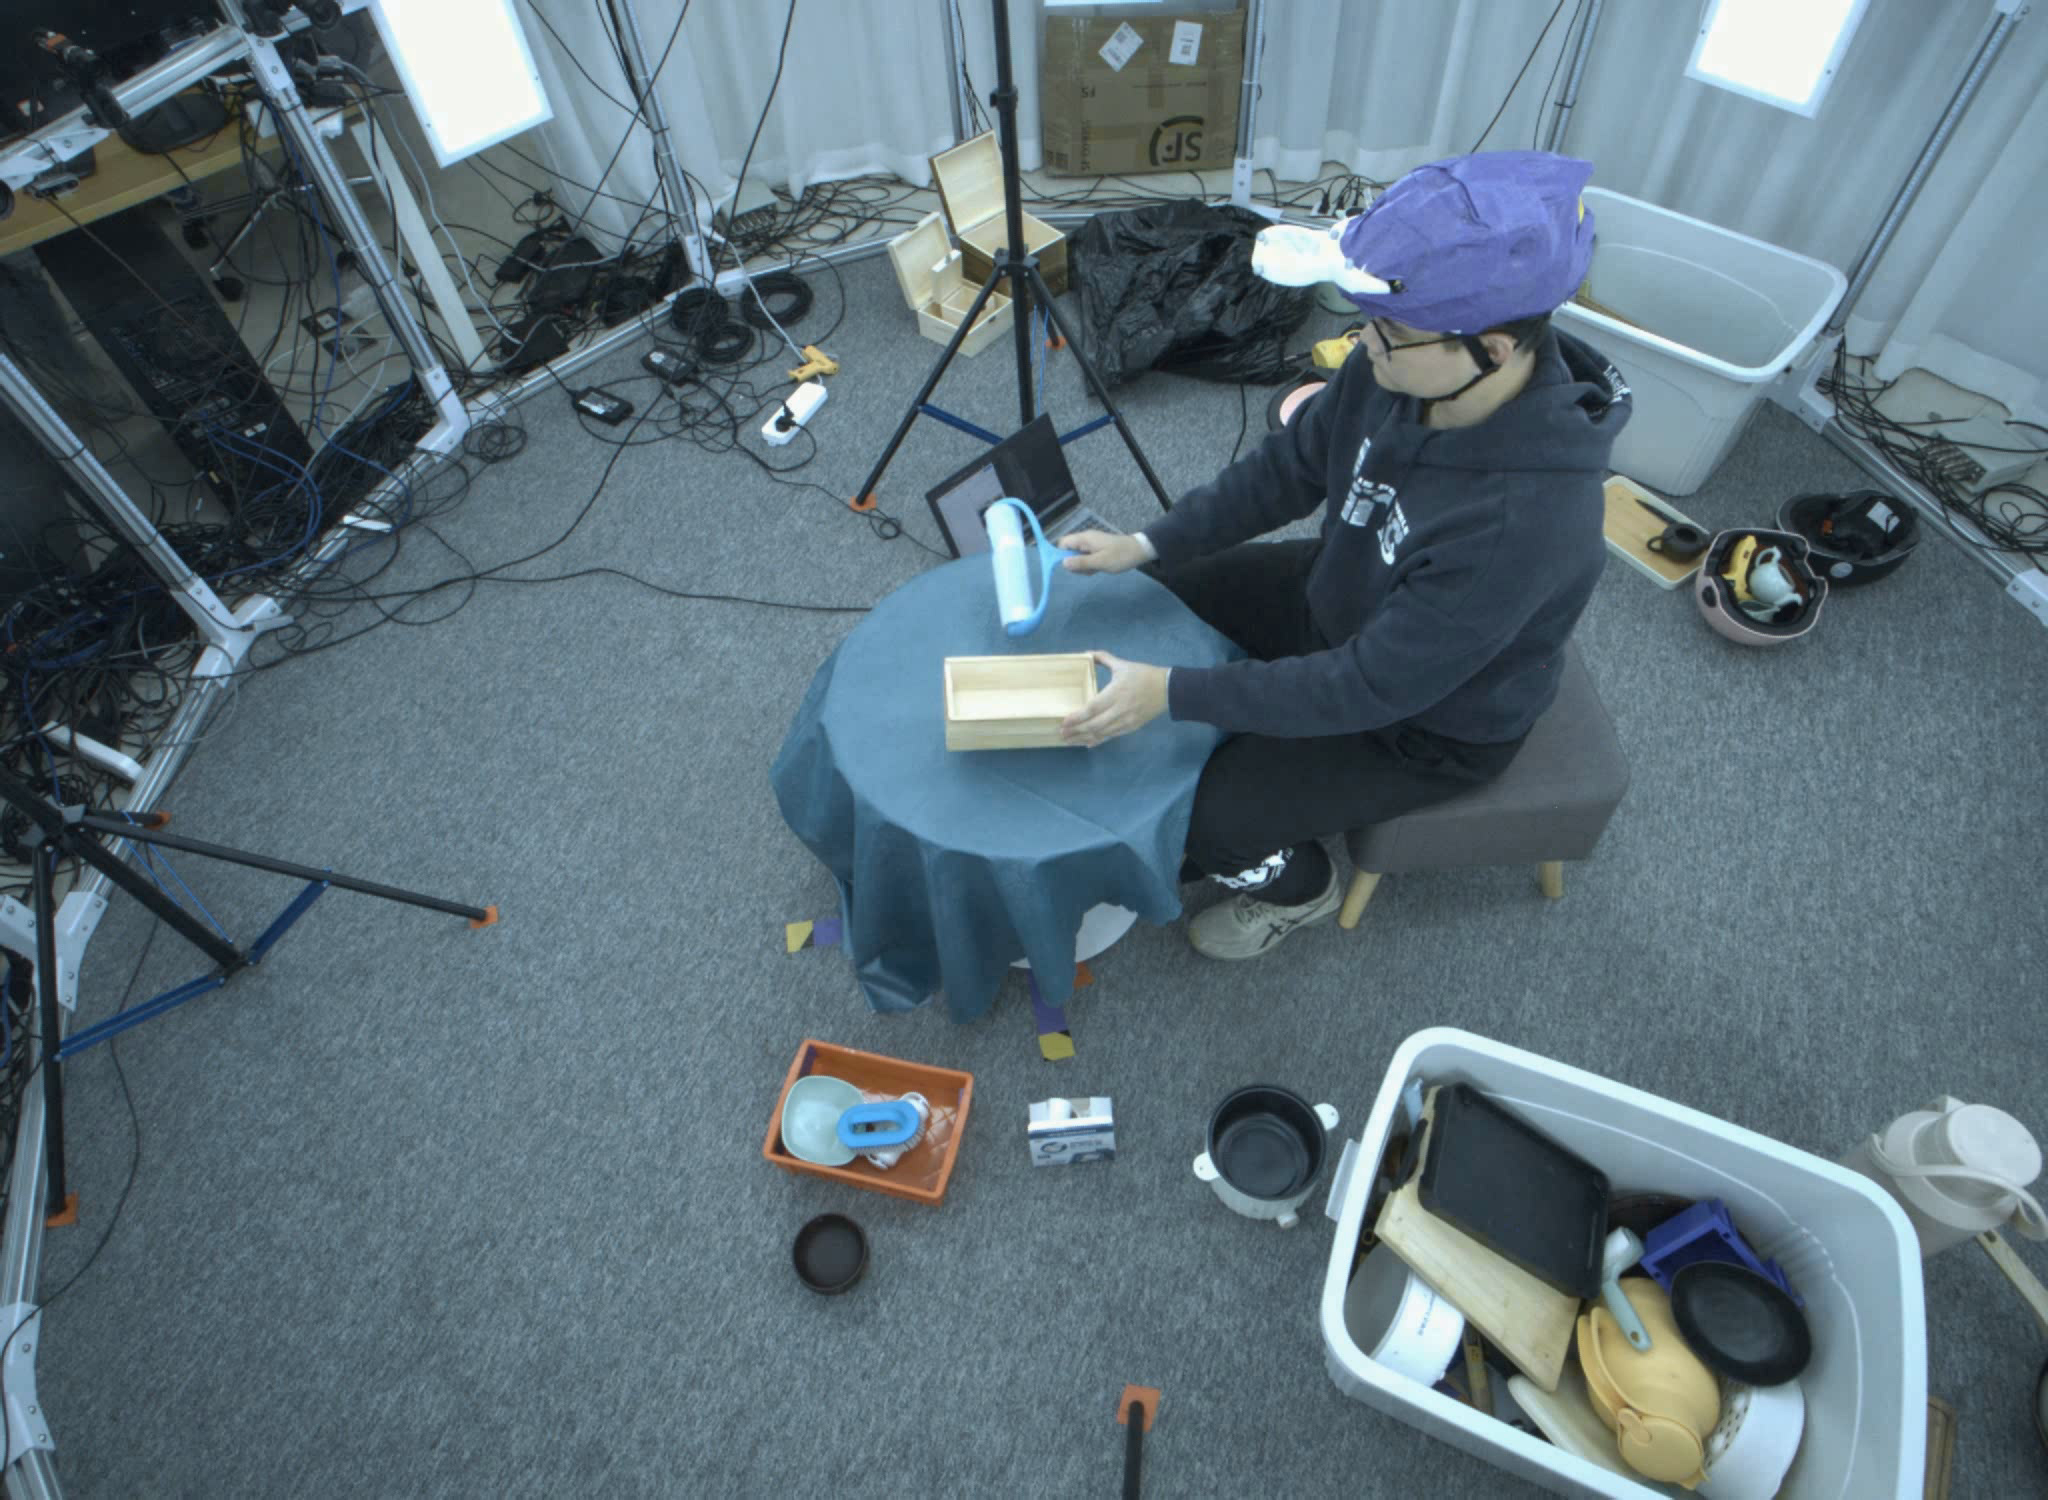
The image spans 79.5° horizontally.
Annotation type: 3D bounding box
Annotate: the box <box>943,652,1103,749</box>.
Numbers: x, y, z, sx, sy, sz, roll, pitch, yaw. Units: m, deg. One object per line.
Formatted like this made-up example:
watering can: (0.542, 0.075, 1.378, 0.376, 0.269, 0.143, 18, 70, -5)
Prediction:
box: (-0.005, -0.070, 1.729, 0.213, 0.080, 0.106, -3, 62, -9)

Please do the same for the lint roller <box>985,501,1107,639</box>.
lint roller: (0.039, -0.286, 1.875, 0.181, 0.068, 0.227, -10, 71, -6)
